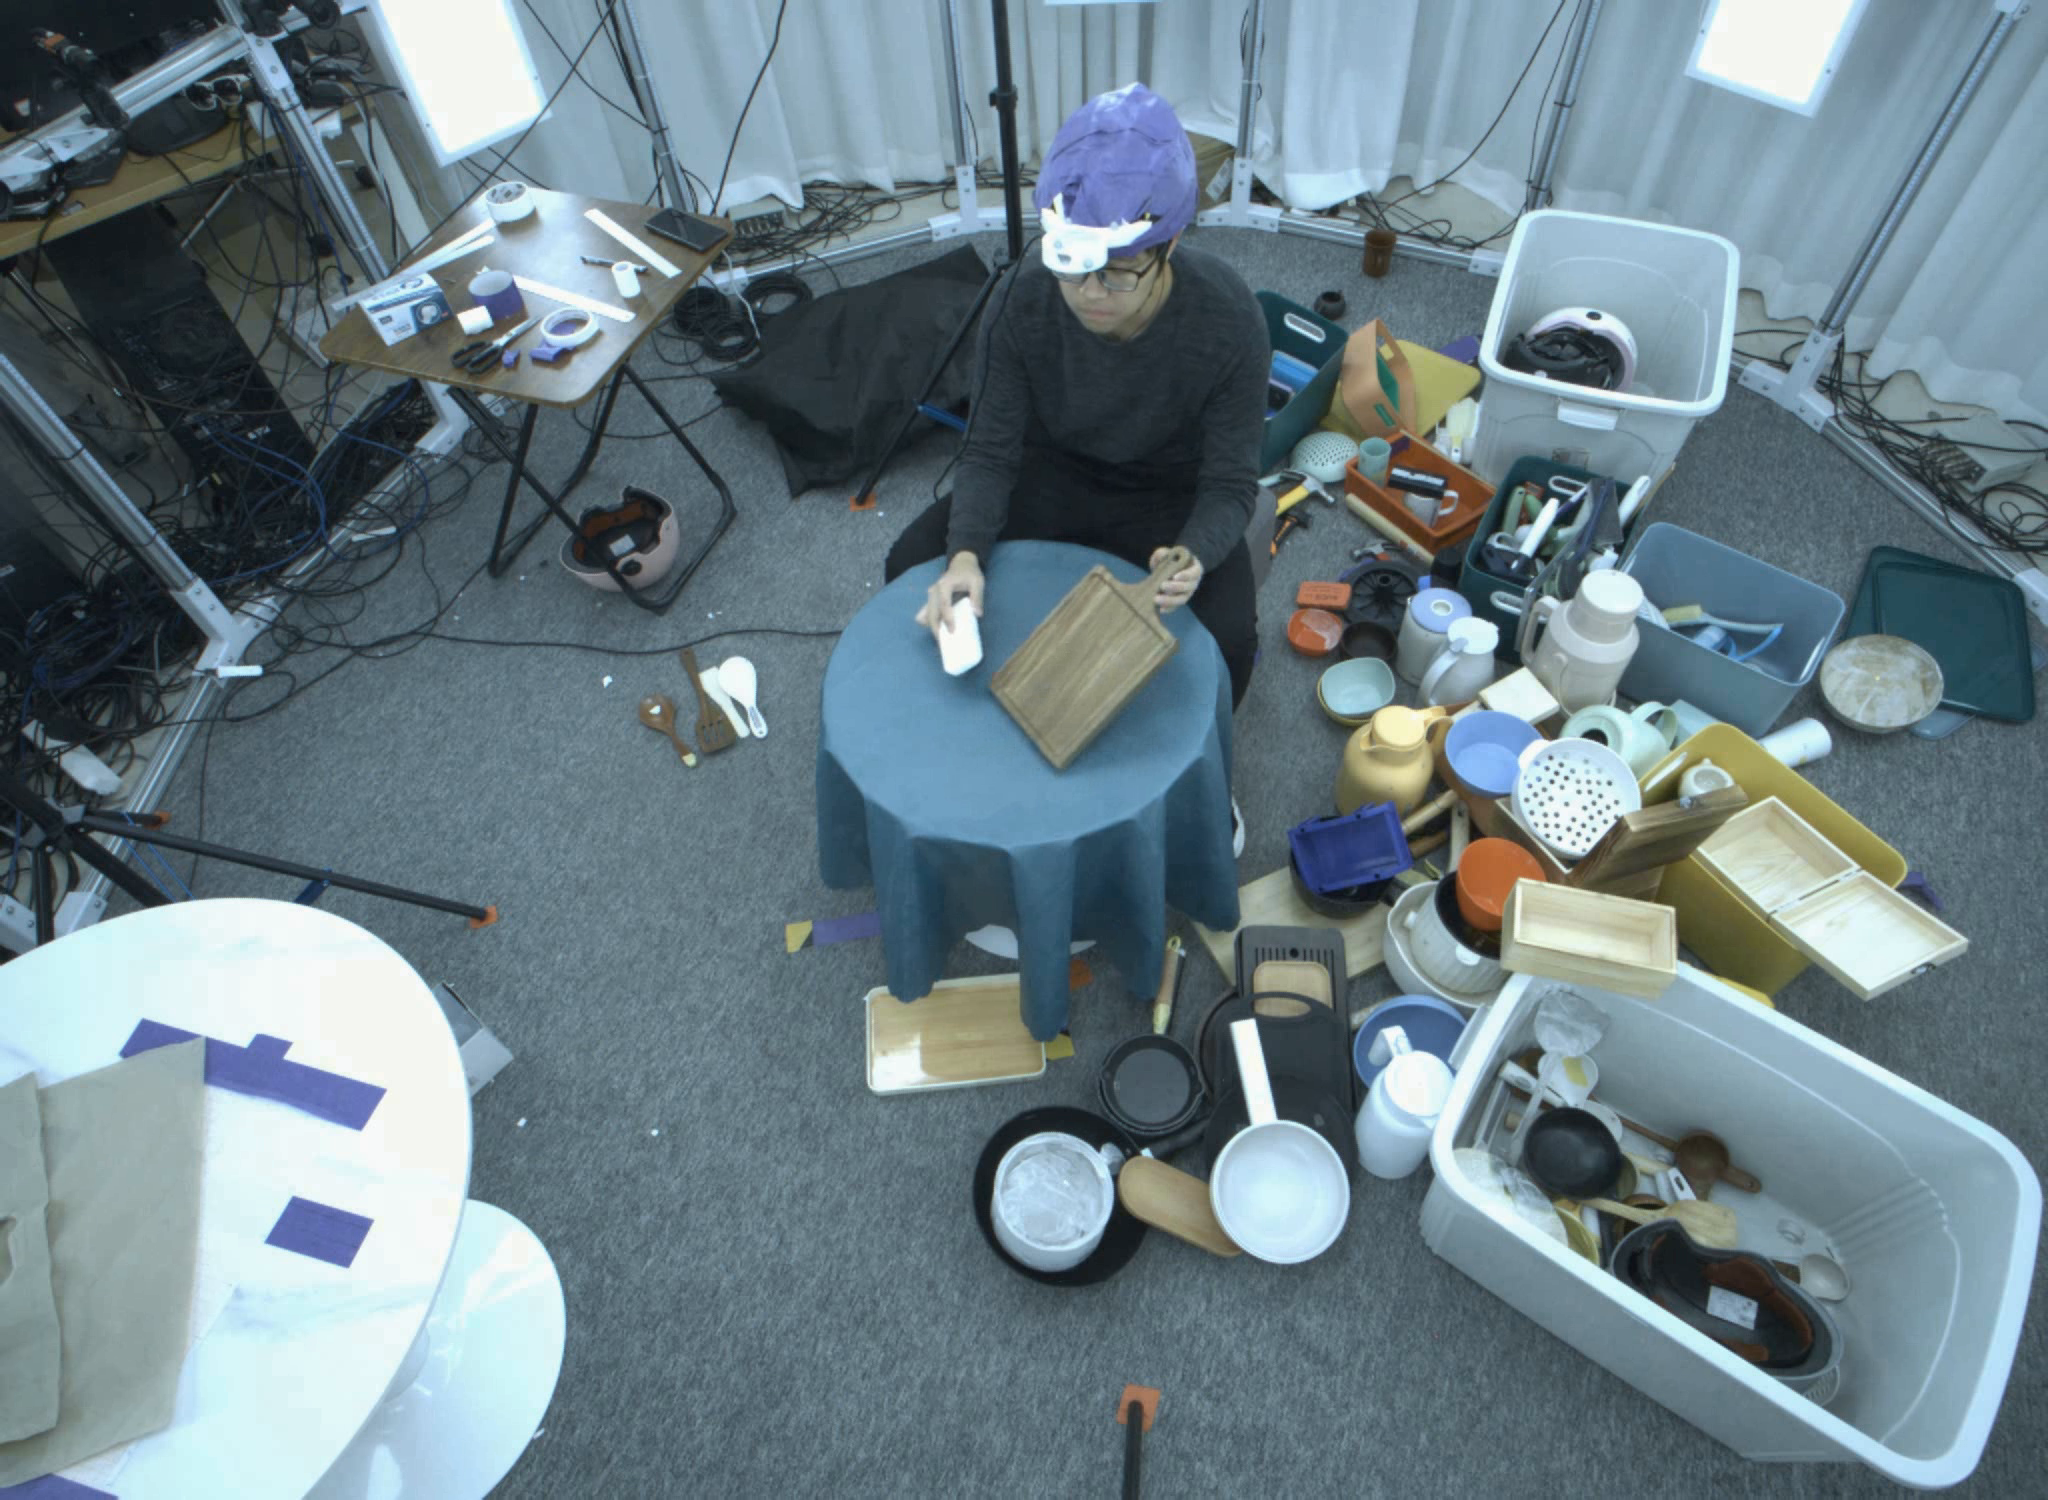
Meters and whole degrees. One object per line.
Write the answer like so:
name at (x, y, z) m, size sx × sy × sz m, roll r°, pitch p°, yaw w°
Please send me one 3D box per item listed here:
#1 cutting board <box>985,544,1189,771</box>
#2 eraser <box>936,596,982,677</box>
cutting board at (0.111, -0.157, 1.770) m, size 0.351 × 0.024 × 0.197 m, roll -47°, pitch 60°, yaw 10°
eraser at (-0.098, -0.173, 1.848) m, size 0.063 × 0.035 × 0.129 m, roll -29°, pitch 50°, yaw 25°
